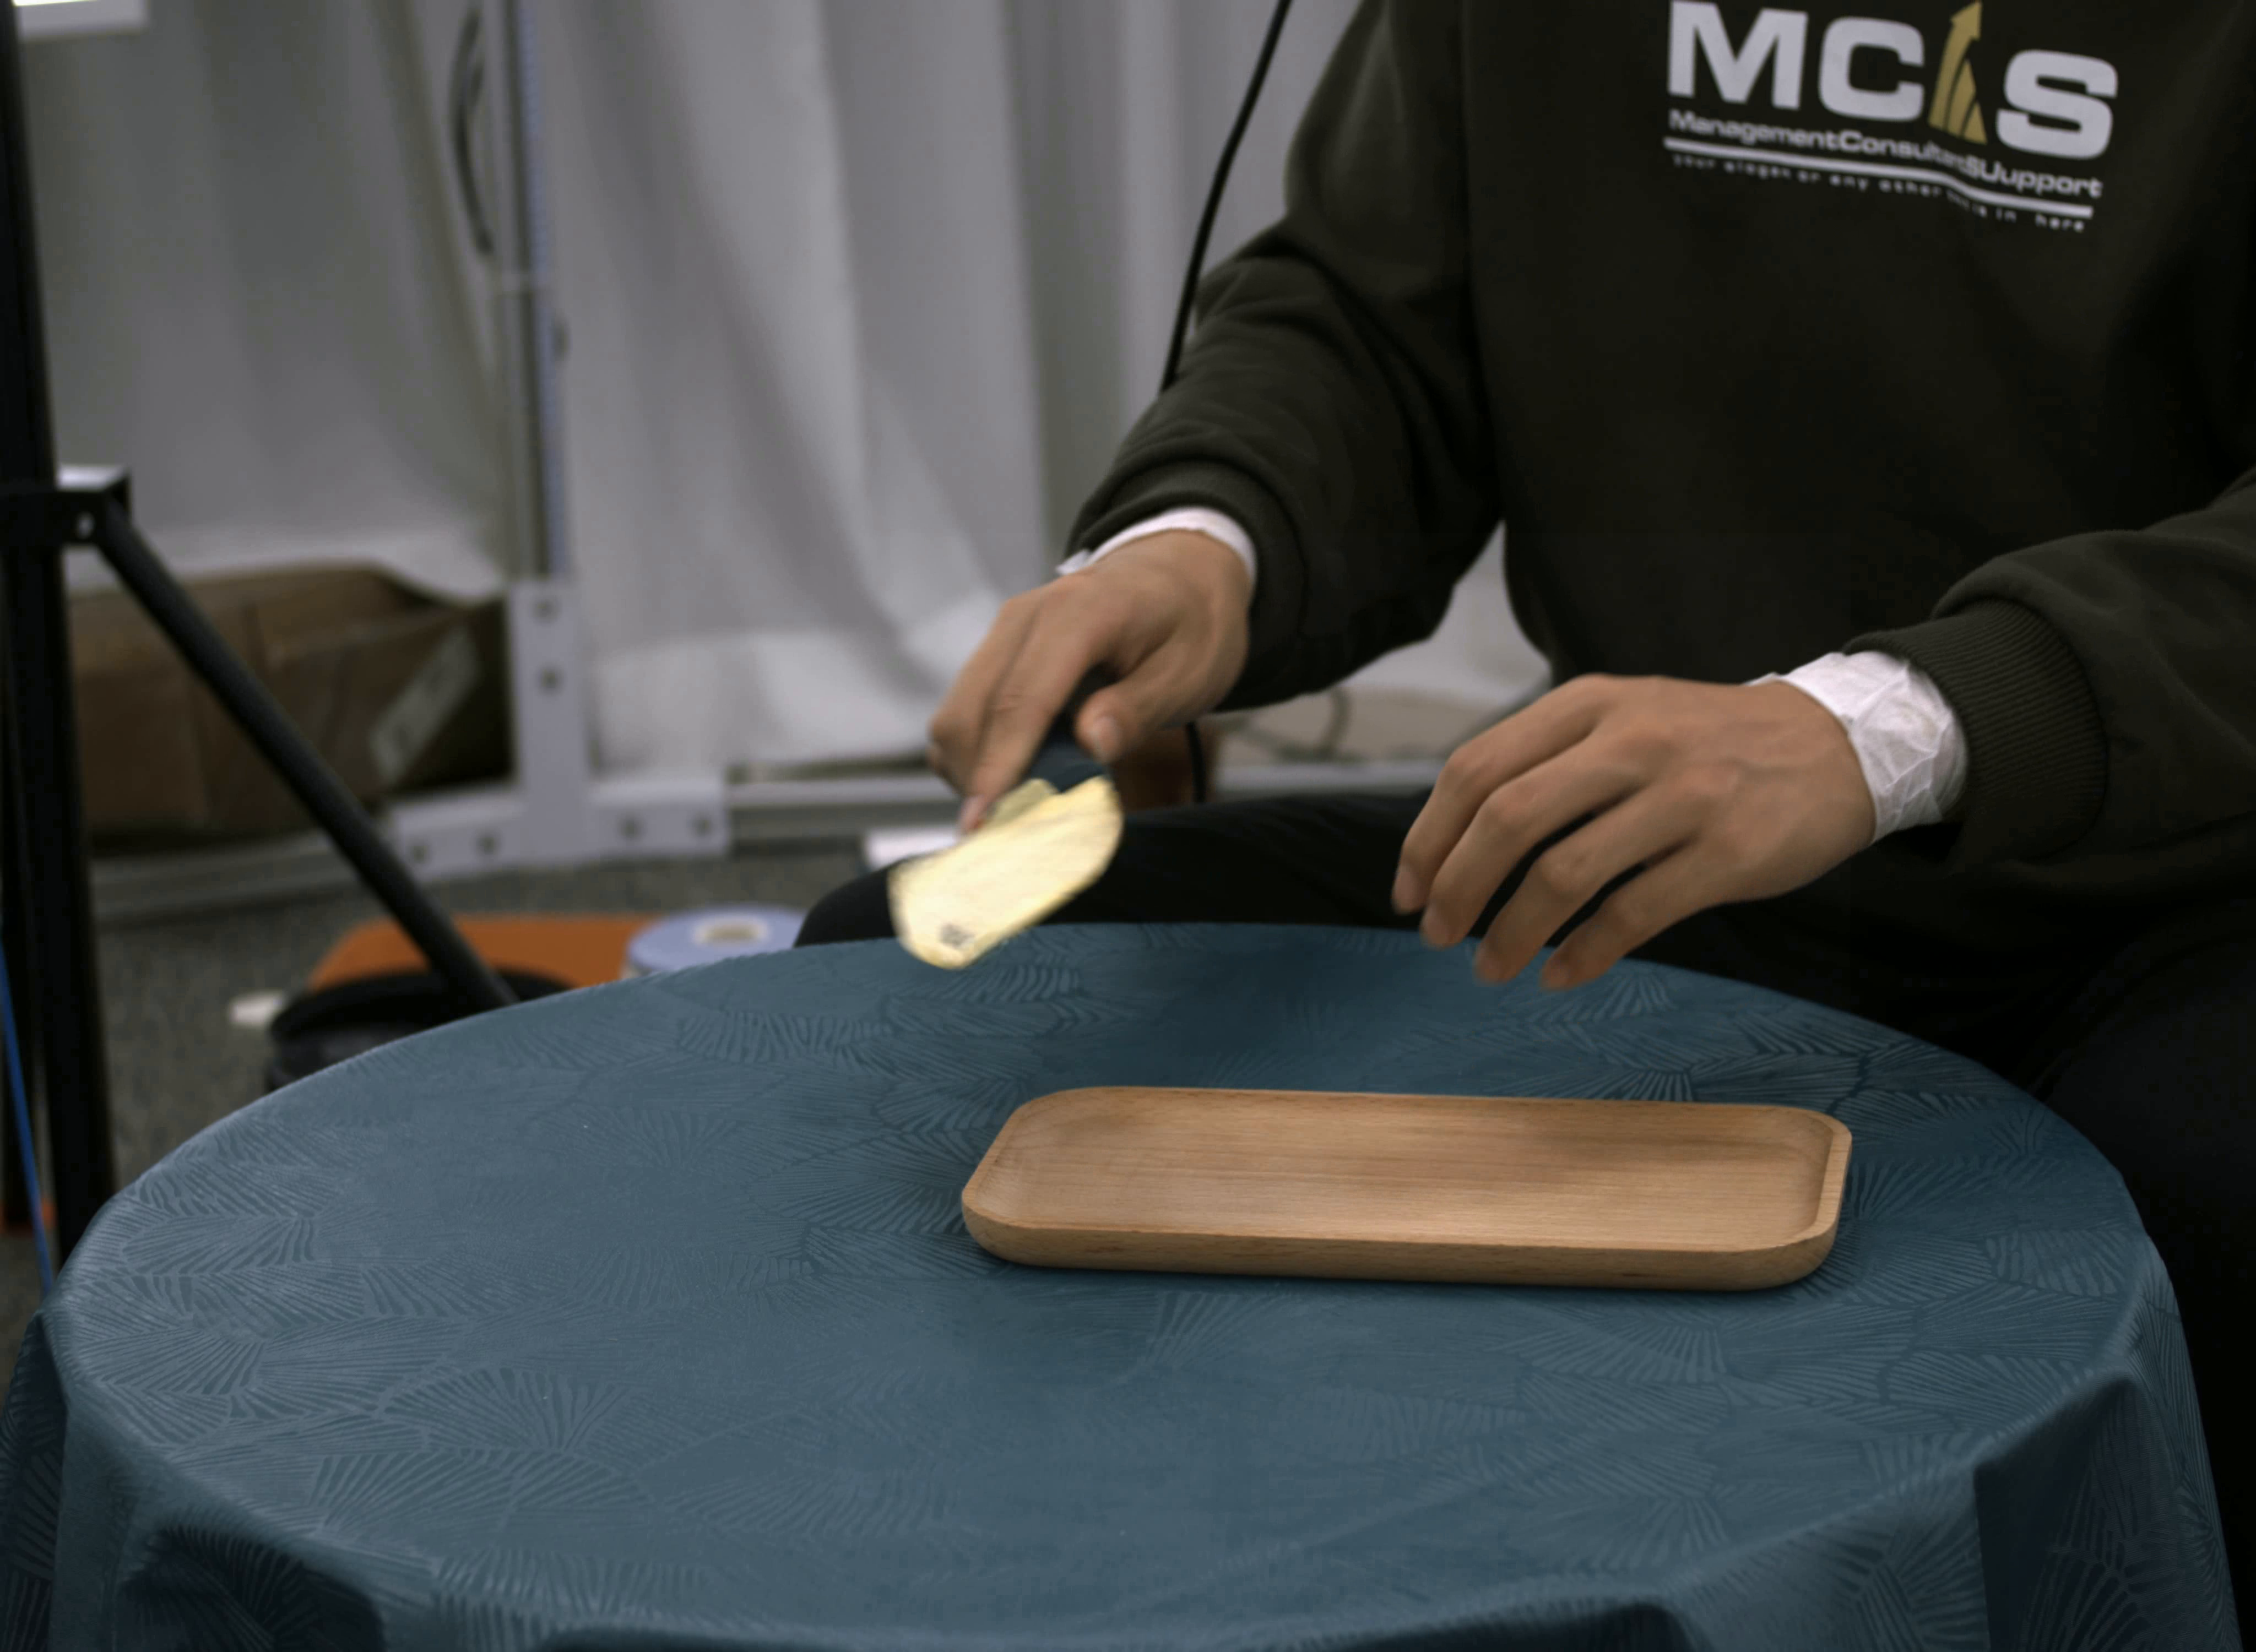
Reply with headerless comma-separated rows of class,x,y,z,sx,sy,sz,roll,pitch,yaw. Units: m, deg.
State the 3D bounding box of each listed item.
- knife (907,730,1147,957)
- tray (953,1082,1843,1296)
knife,-0.032,0.005,1.618,0.081,0.027,0.290,-29,9,3
tray,0.079,0.105,1.531,0.252,0.023,0.129,1,13,13
